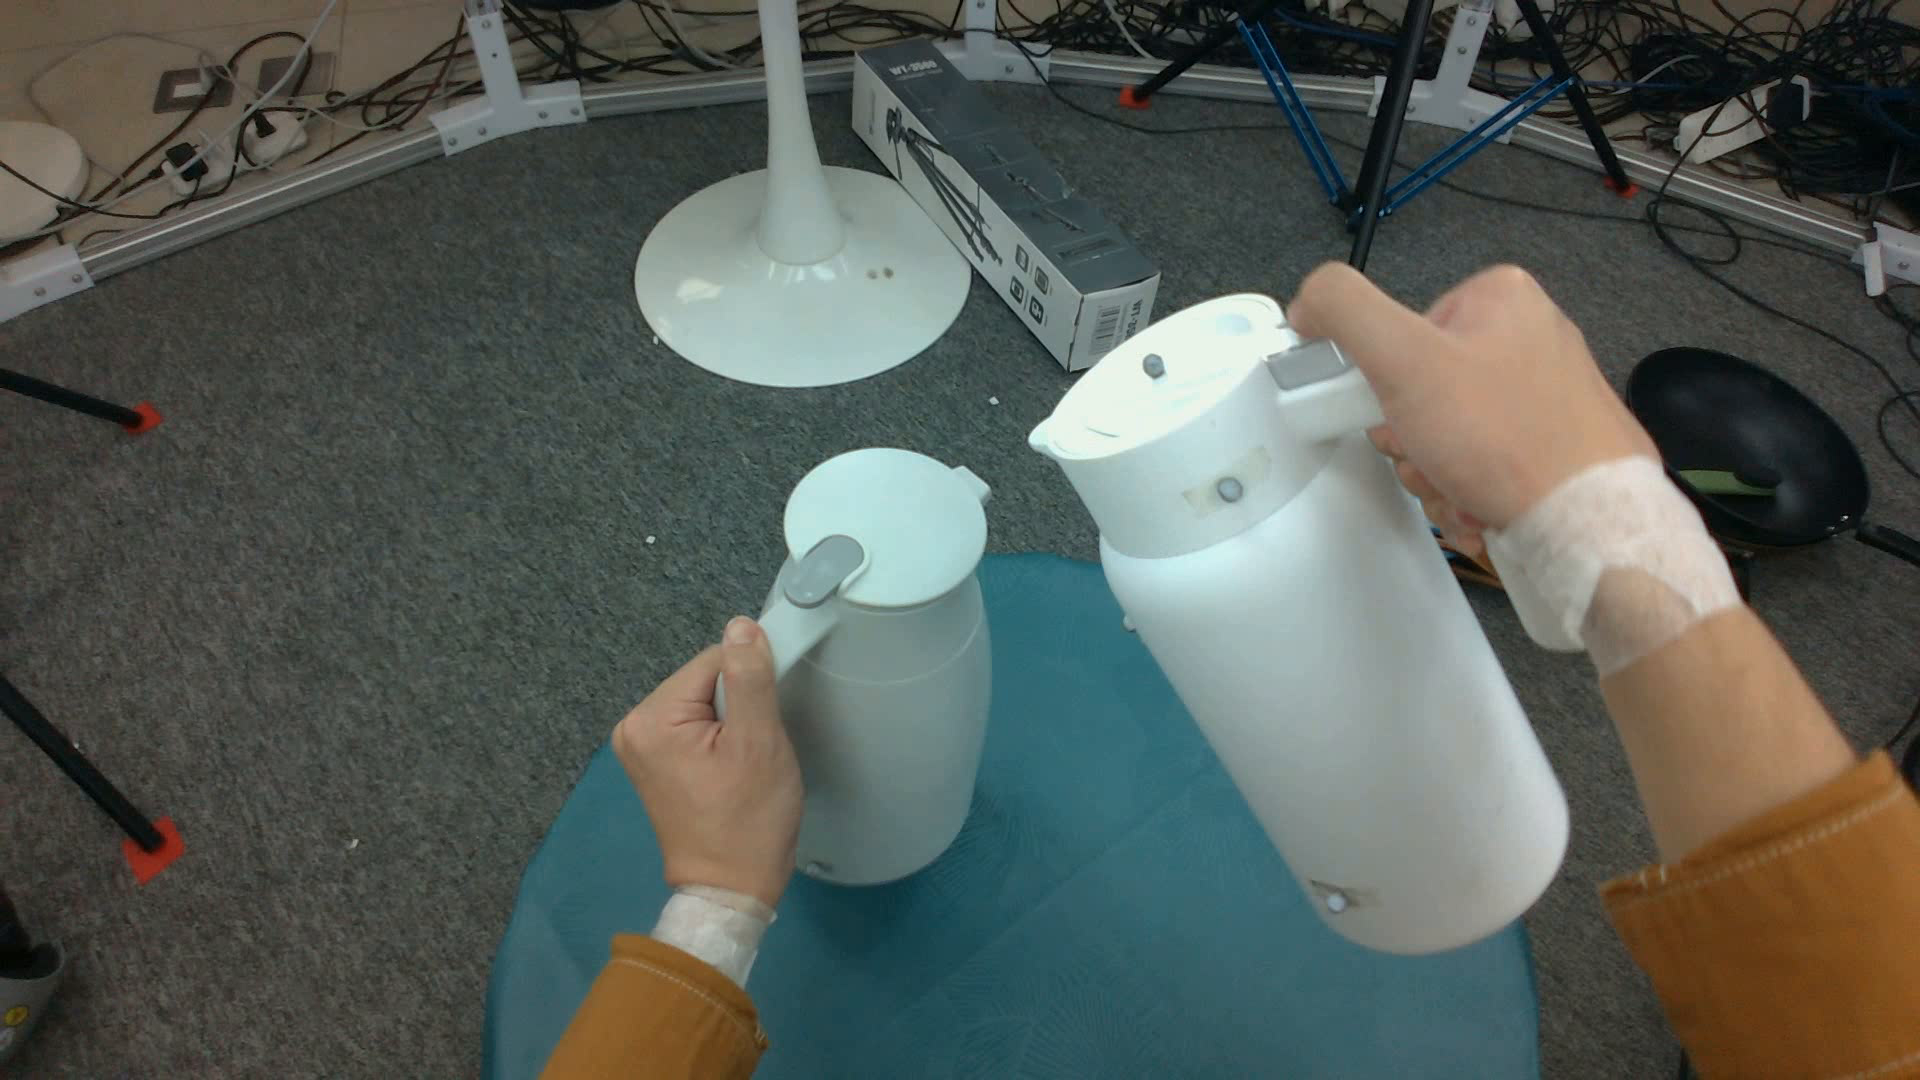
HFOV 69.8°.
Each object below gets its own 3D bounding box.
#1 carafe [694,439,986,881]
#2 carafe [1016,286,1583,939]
[{"bbox_3d":[-0.061,0.072,0.694,0.132,0.247,0.168,38,57,21],"label":"carafe"},{"bbox_3d":[0.154,0.030,0.546,0.172,0.268,0.124,-14,29,41],"label":"carafe"}]
